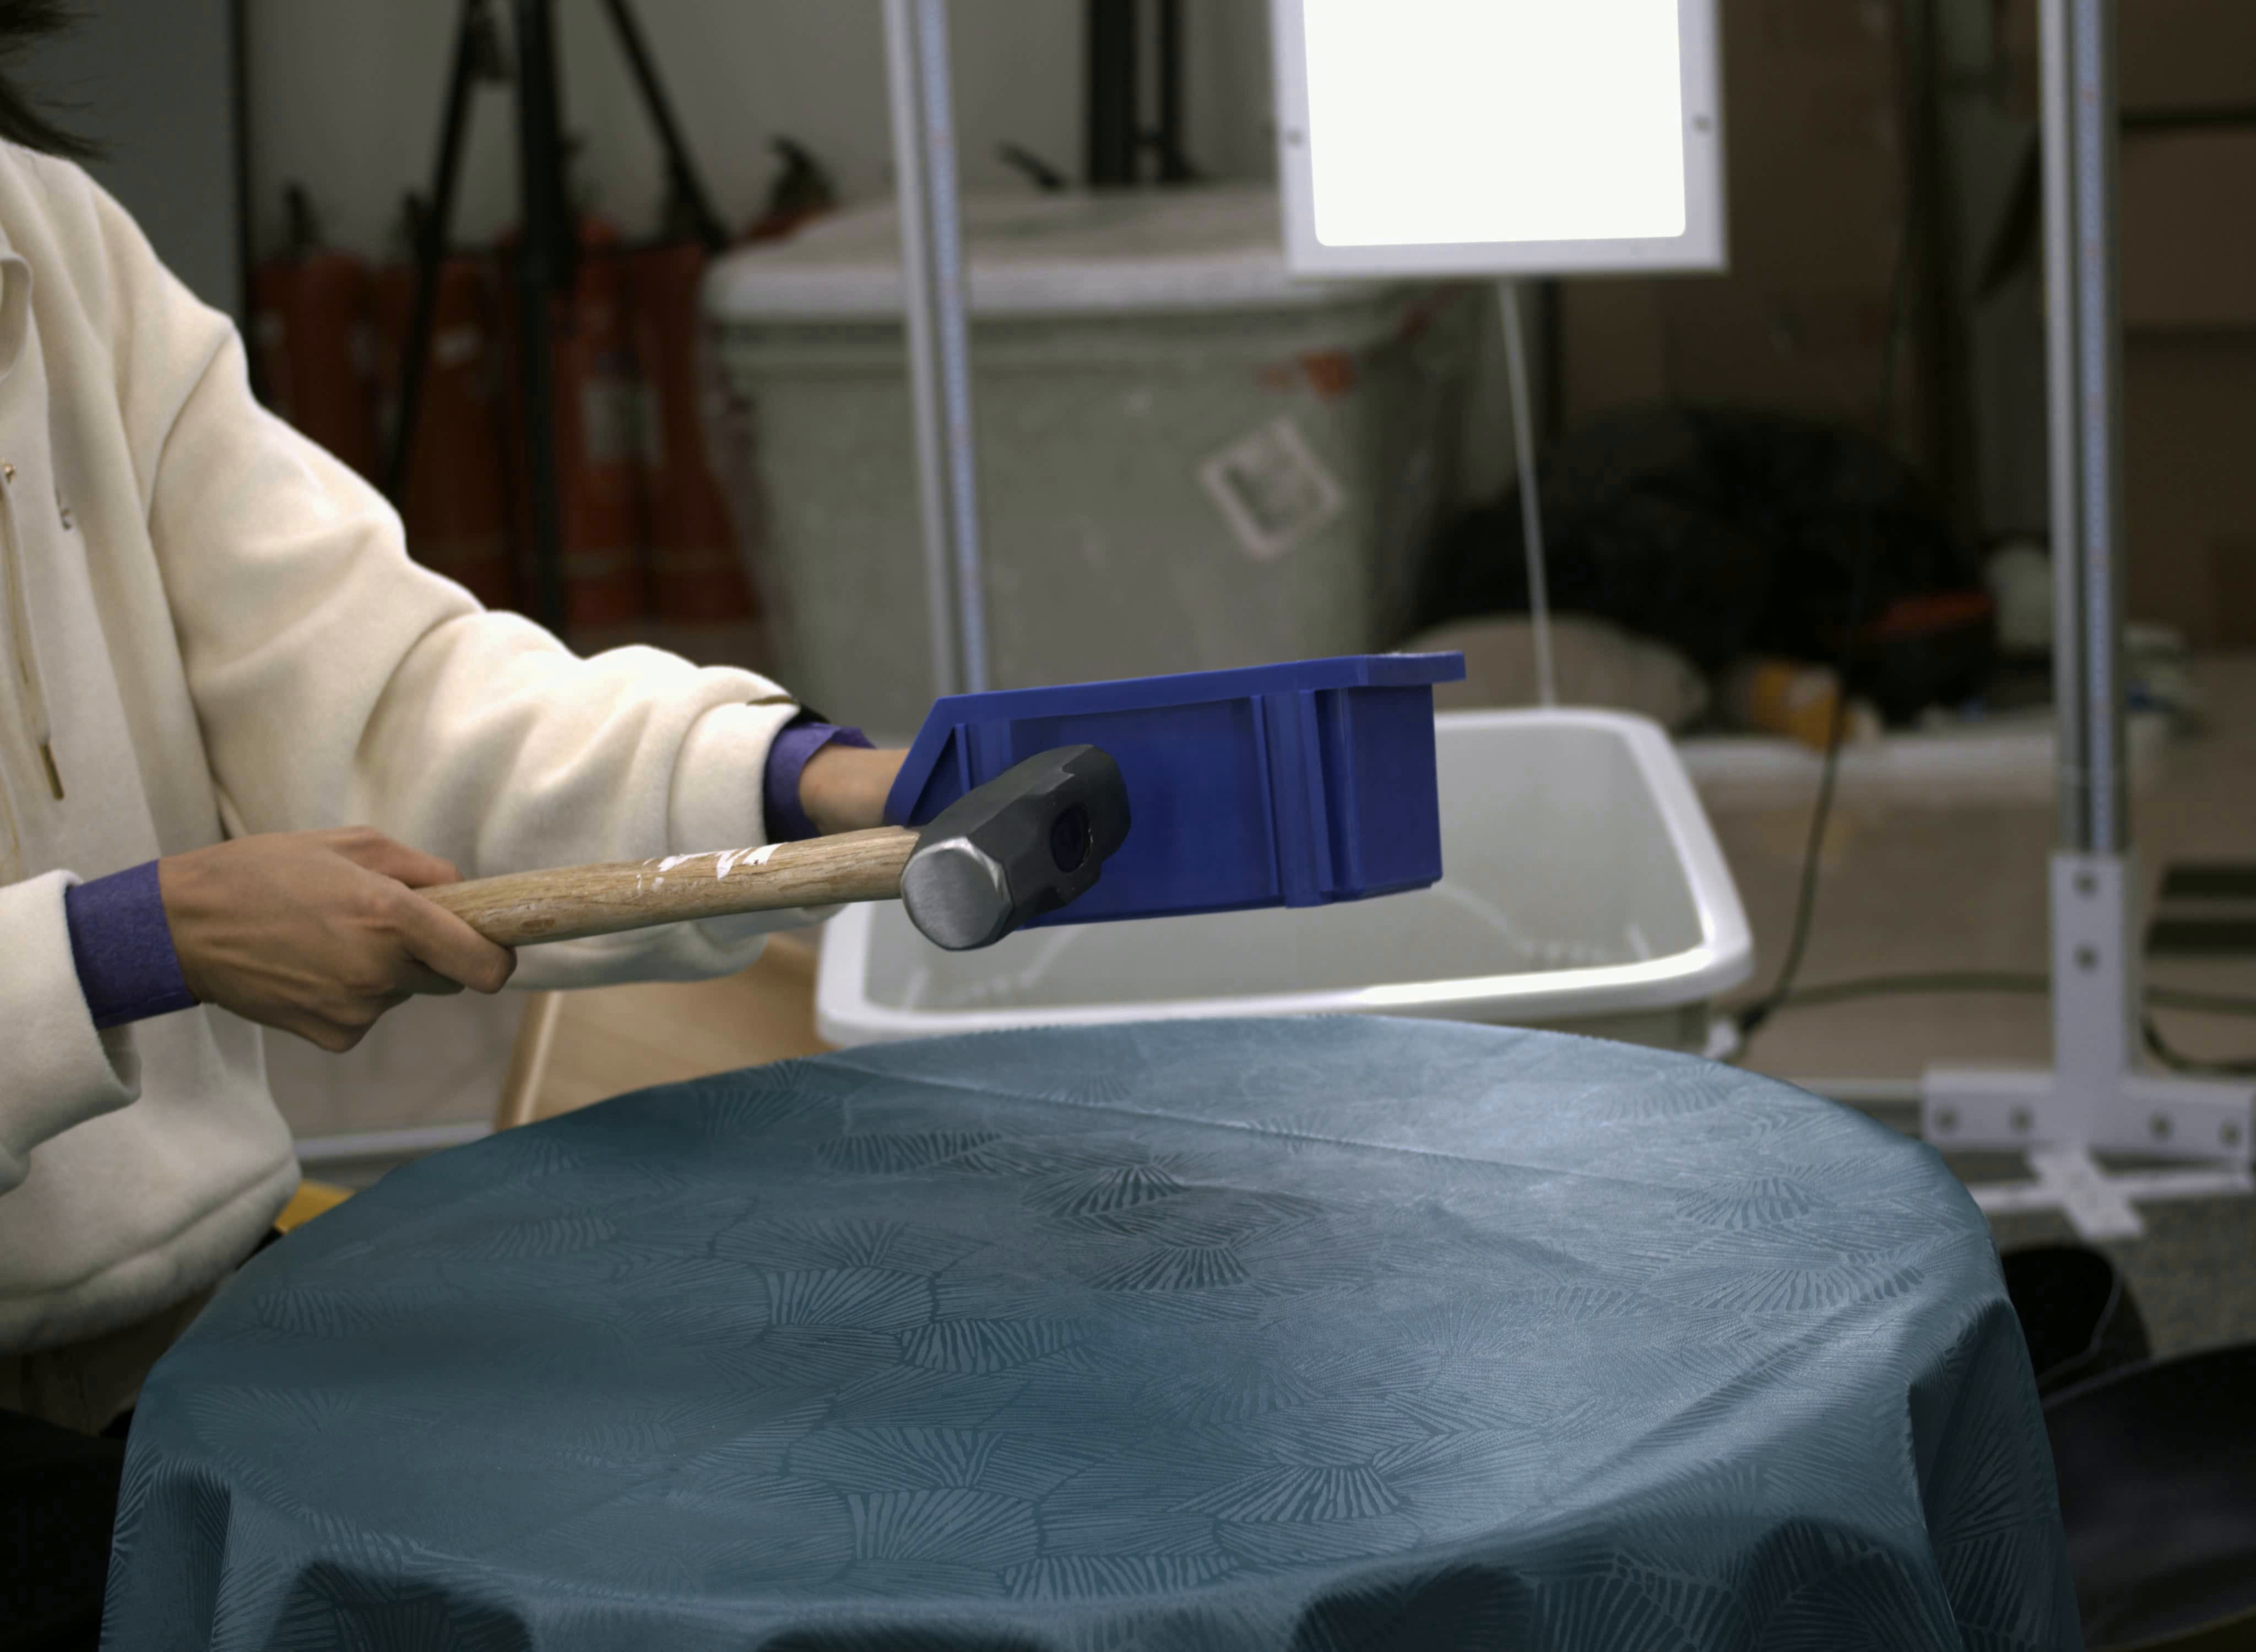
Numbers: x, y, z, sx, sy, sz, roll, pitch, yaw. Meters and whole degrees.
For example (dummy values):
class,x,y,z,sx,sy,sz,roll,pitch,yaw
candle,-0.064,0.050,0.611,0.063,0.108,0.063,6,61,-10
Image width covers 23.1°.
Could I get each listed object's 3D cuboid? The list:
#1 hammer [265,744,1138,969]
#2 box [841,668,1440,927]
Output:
class,x,y,z,sx,sy,sz,roll,pitch,yaw
hammer,-0.152,0.020,1.808,0.311,0.038,0.105,-7,13,29
box,0.004,-0.009,1.859,0.182,0.082,0.122,-2,1,22
